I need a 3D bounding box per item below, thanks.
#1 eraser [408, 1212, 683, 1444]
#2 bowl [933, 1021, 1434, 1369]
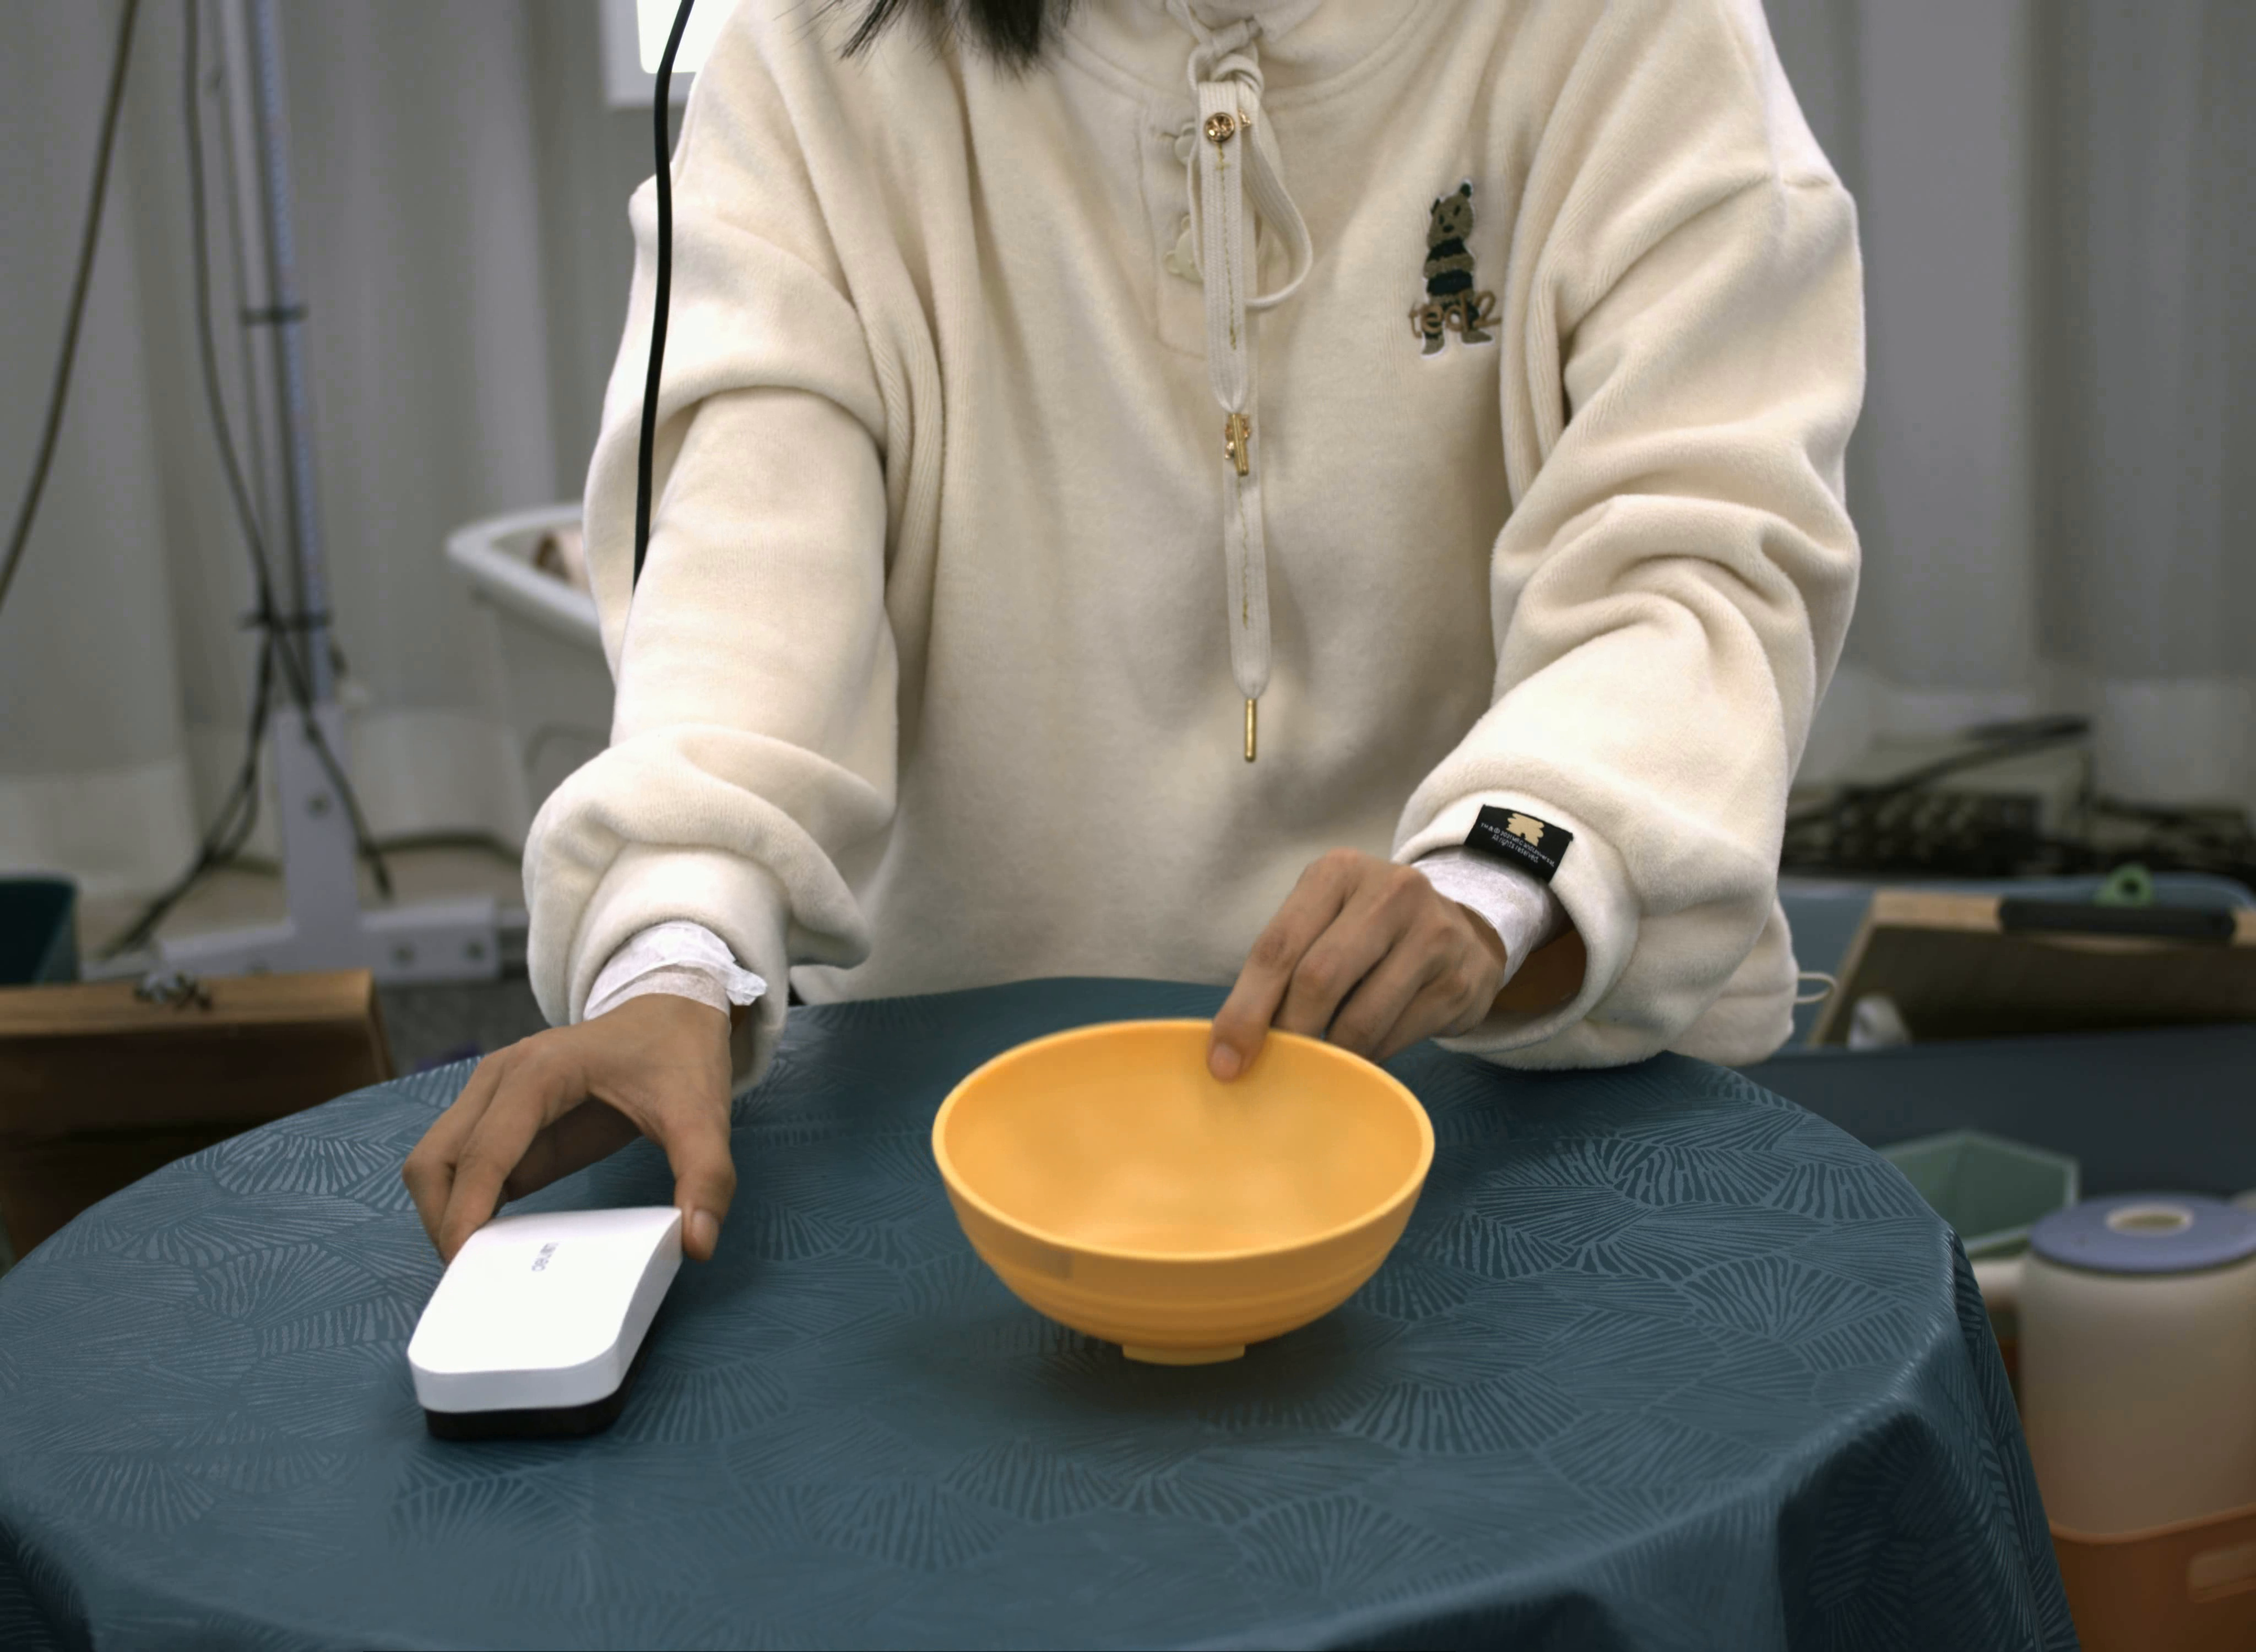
[{"bbox_3d":[-0.165,0.141,1.584,0.063,0.034,0.132,-3,16,7],"label":"eraser"},{"bbox_3d":[0.017,0.115,1.578,0.145,0.059,0.147,-1,25,0],"label":"bowl"}]
